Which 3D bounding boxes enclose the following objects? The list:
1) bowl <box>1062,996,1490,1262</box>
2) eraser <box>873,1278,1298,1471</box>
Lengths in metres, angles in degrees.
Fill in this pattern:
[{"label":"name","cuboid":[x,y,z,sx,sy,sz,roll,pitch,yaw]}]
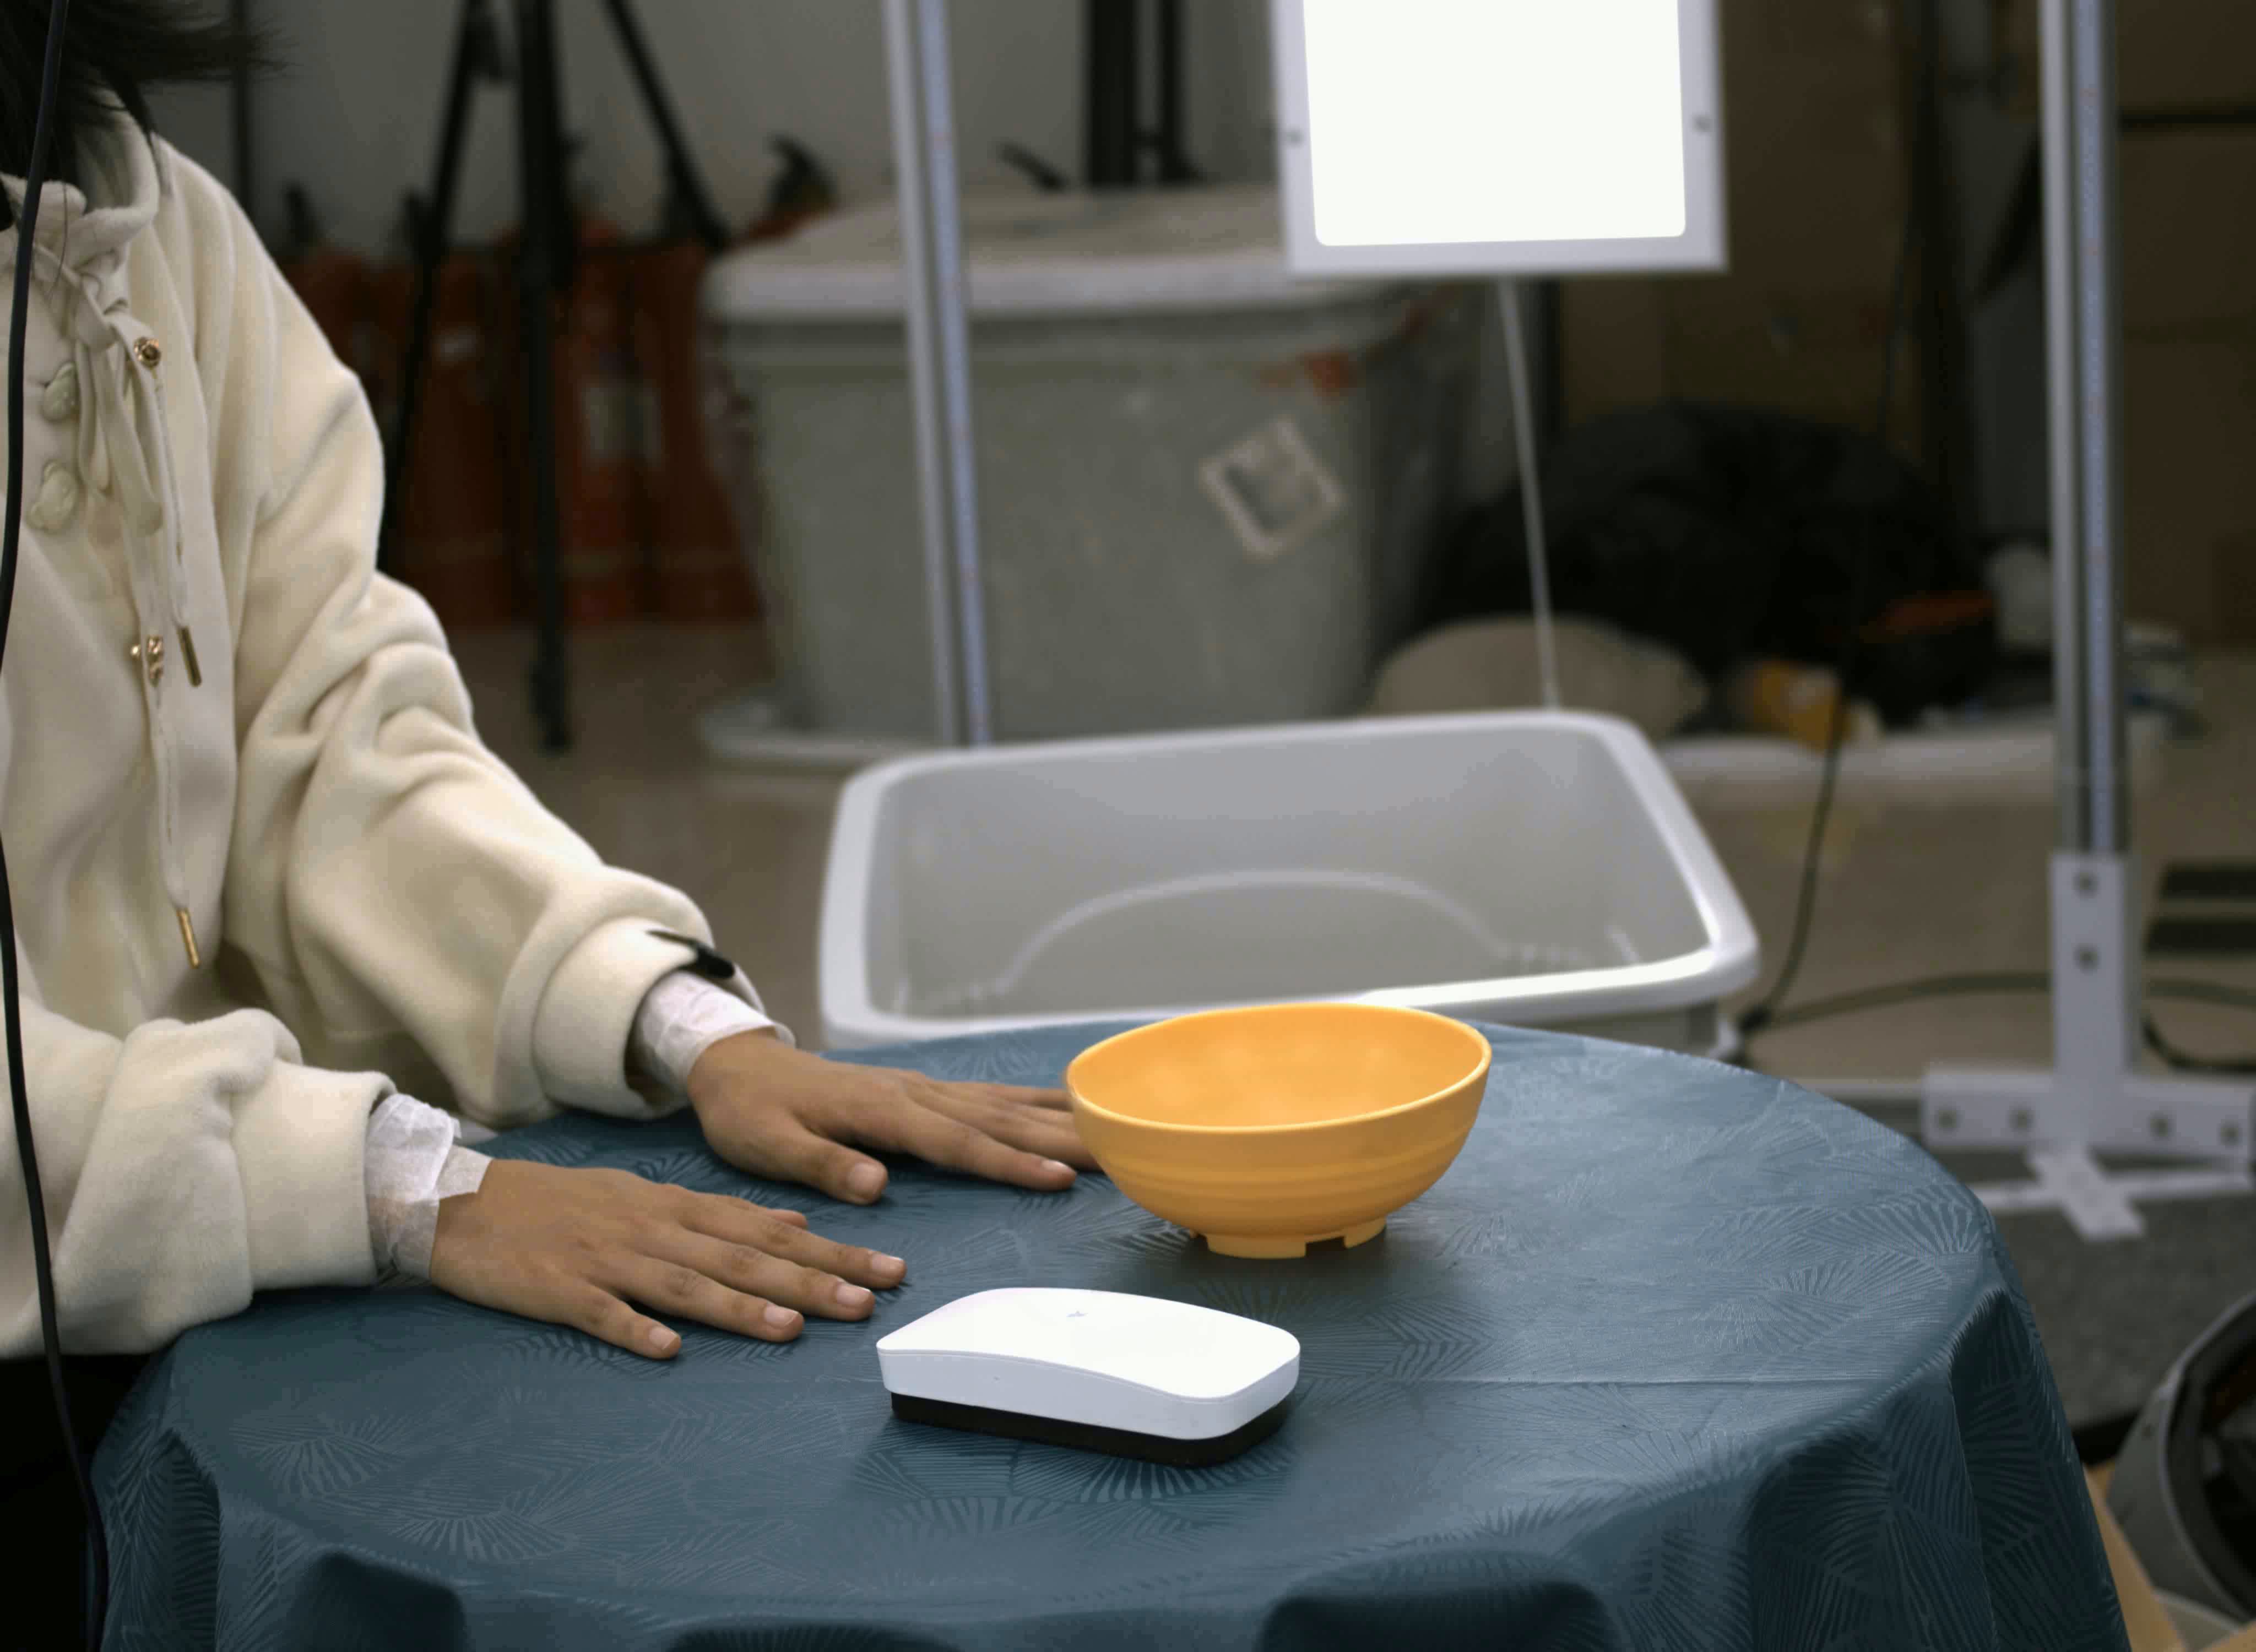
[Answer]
[{"label":"bowl","cuboid":[0.051,0.107,1.839,0.145,0.060,0.145,-4,16,0]},{"label":"eraser","cuboid":[-0.012,0.166,1.680,0.134,0.034,0.062,6,17,36]}]
